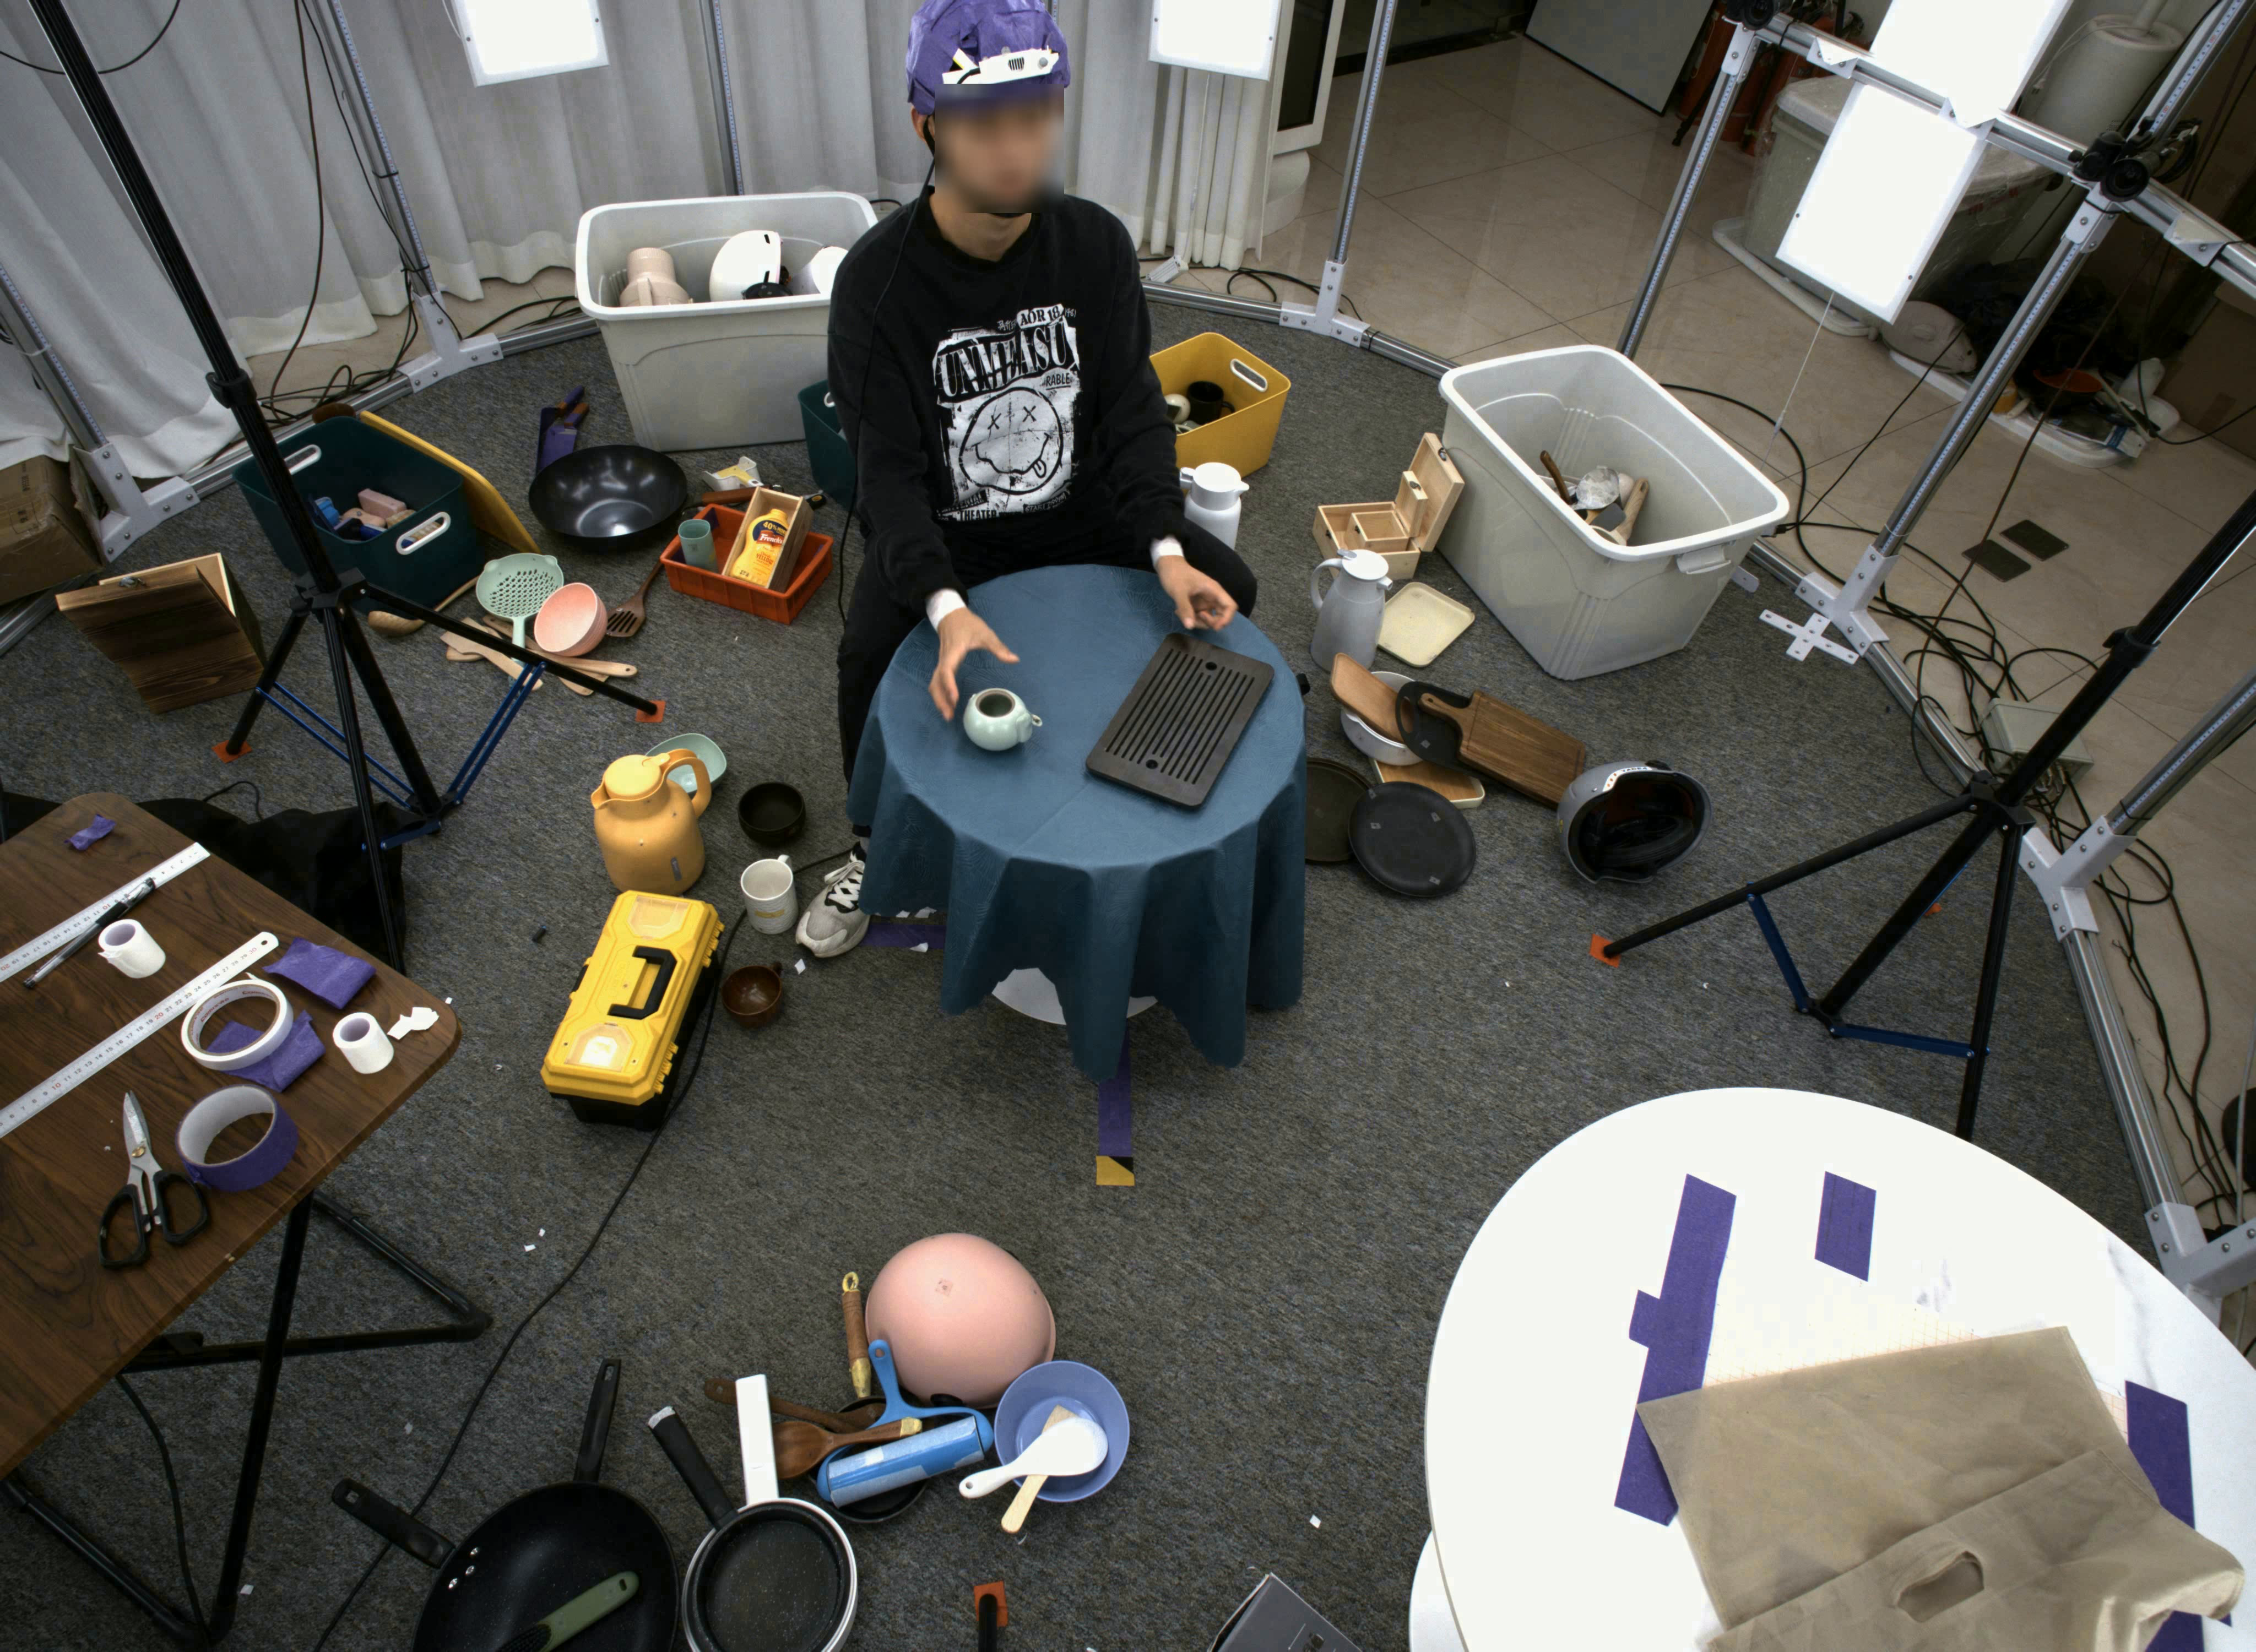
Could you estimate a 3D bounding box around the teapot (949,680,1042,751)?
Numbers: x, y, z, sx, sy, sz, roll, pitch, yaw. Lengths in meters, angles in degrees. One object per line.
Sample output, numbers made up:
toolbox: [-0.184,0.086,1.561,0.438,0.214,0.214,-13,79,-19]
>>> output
teapot: [-0.179,-0.145,1.737,0.145,0.073,0.089,28,53,17]

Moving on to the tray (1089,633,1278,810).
tray: [0.082,-0.151,1.793,0.171,0.018,0.311,20,51,14]
